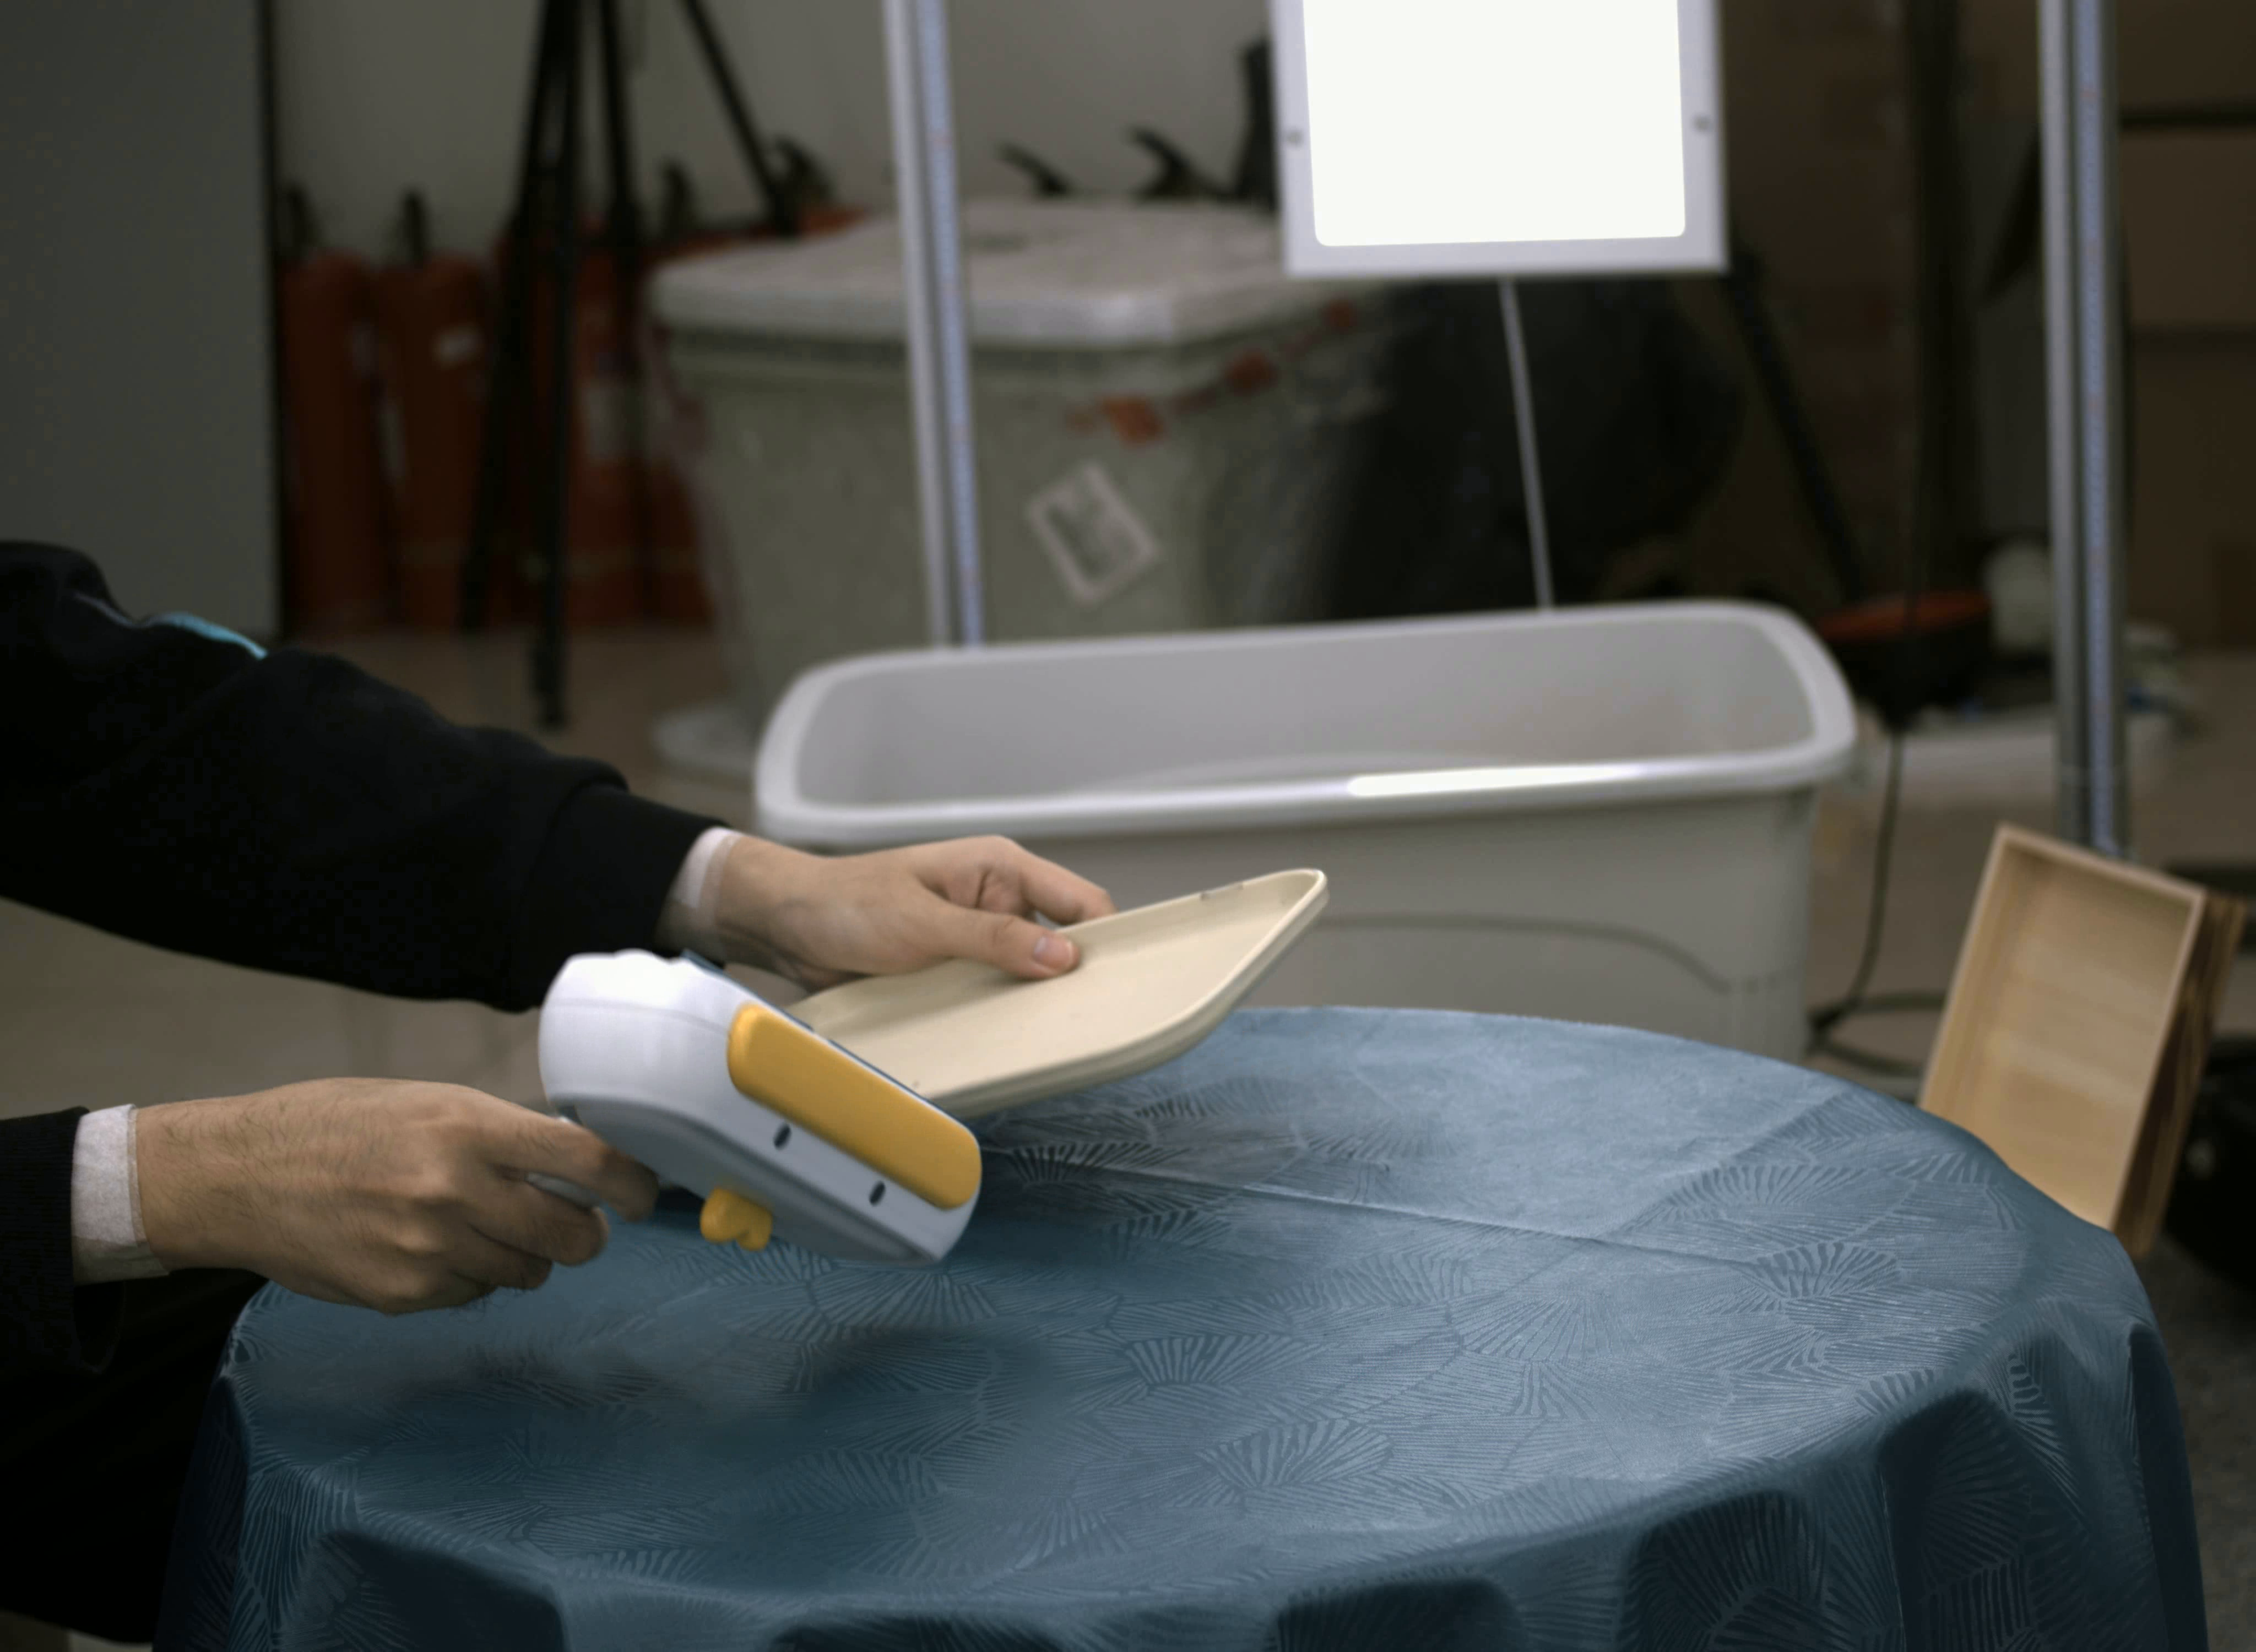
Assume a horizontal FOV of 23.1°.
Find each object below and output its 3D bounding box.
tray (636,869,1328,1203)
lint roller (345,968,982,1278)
[{"bbox_3d":[-0.051,0.075,1.932,0.244,0.017,0.168,-15,15,30],"label":"tray"},{"bbox_3d":[-0.165,0.104,1.733,0.196,0.074,0.189,-8,-19,33],"label":"lint roller"}]
